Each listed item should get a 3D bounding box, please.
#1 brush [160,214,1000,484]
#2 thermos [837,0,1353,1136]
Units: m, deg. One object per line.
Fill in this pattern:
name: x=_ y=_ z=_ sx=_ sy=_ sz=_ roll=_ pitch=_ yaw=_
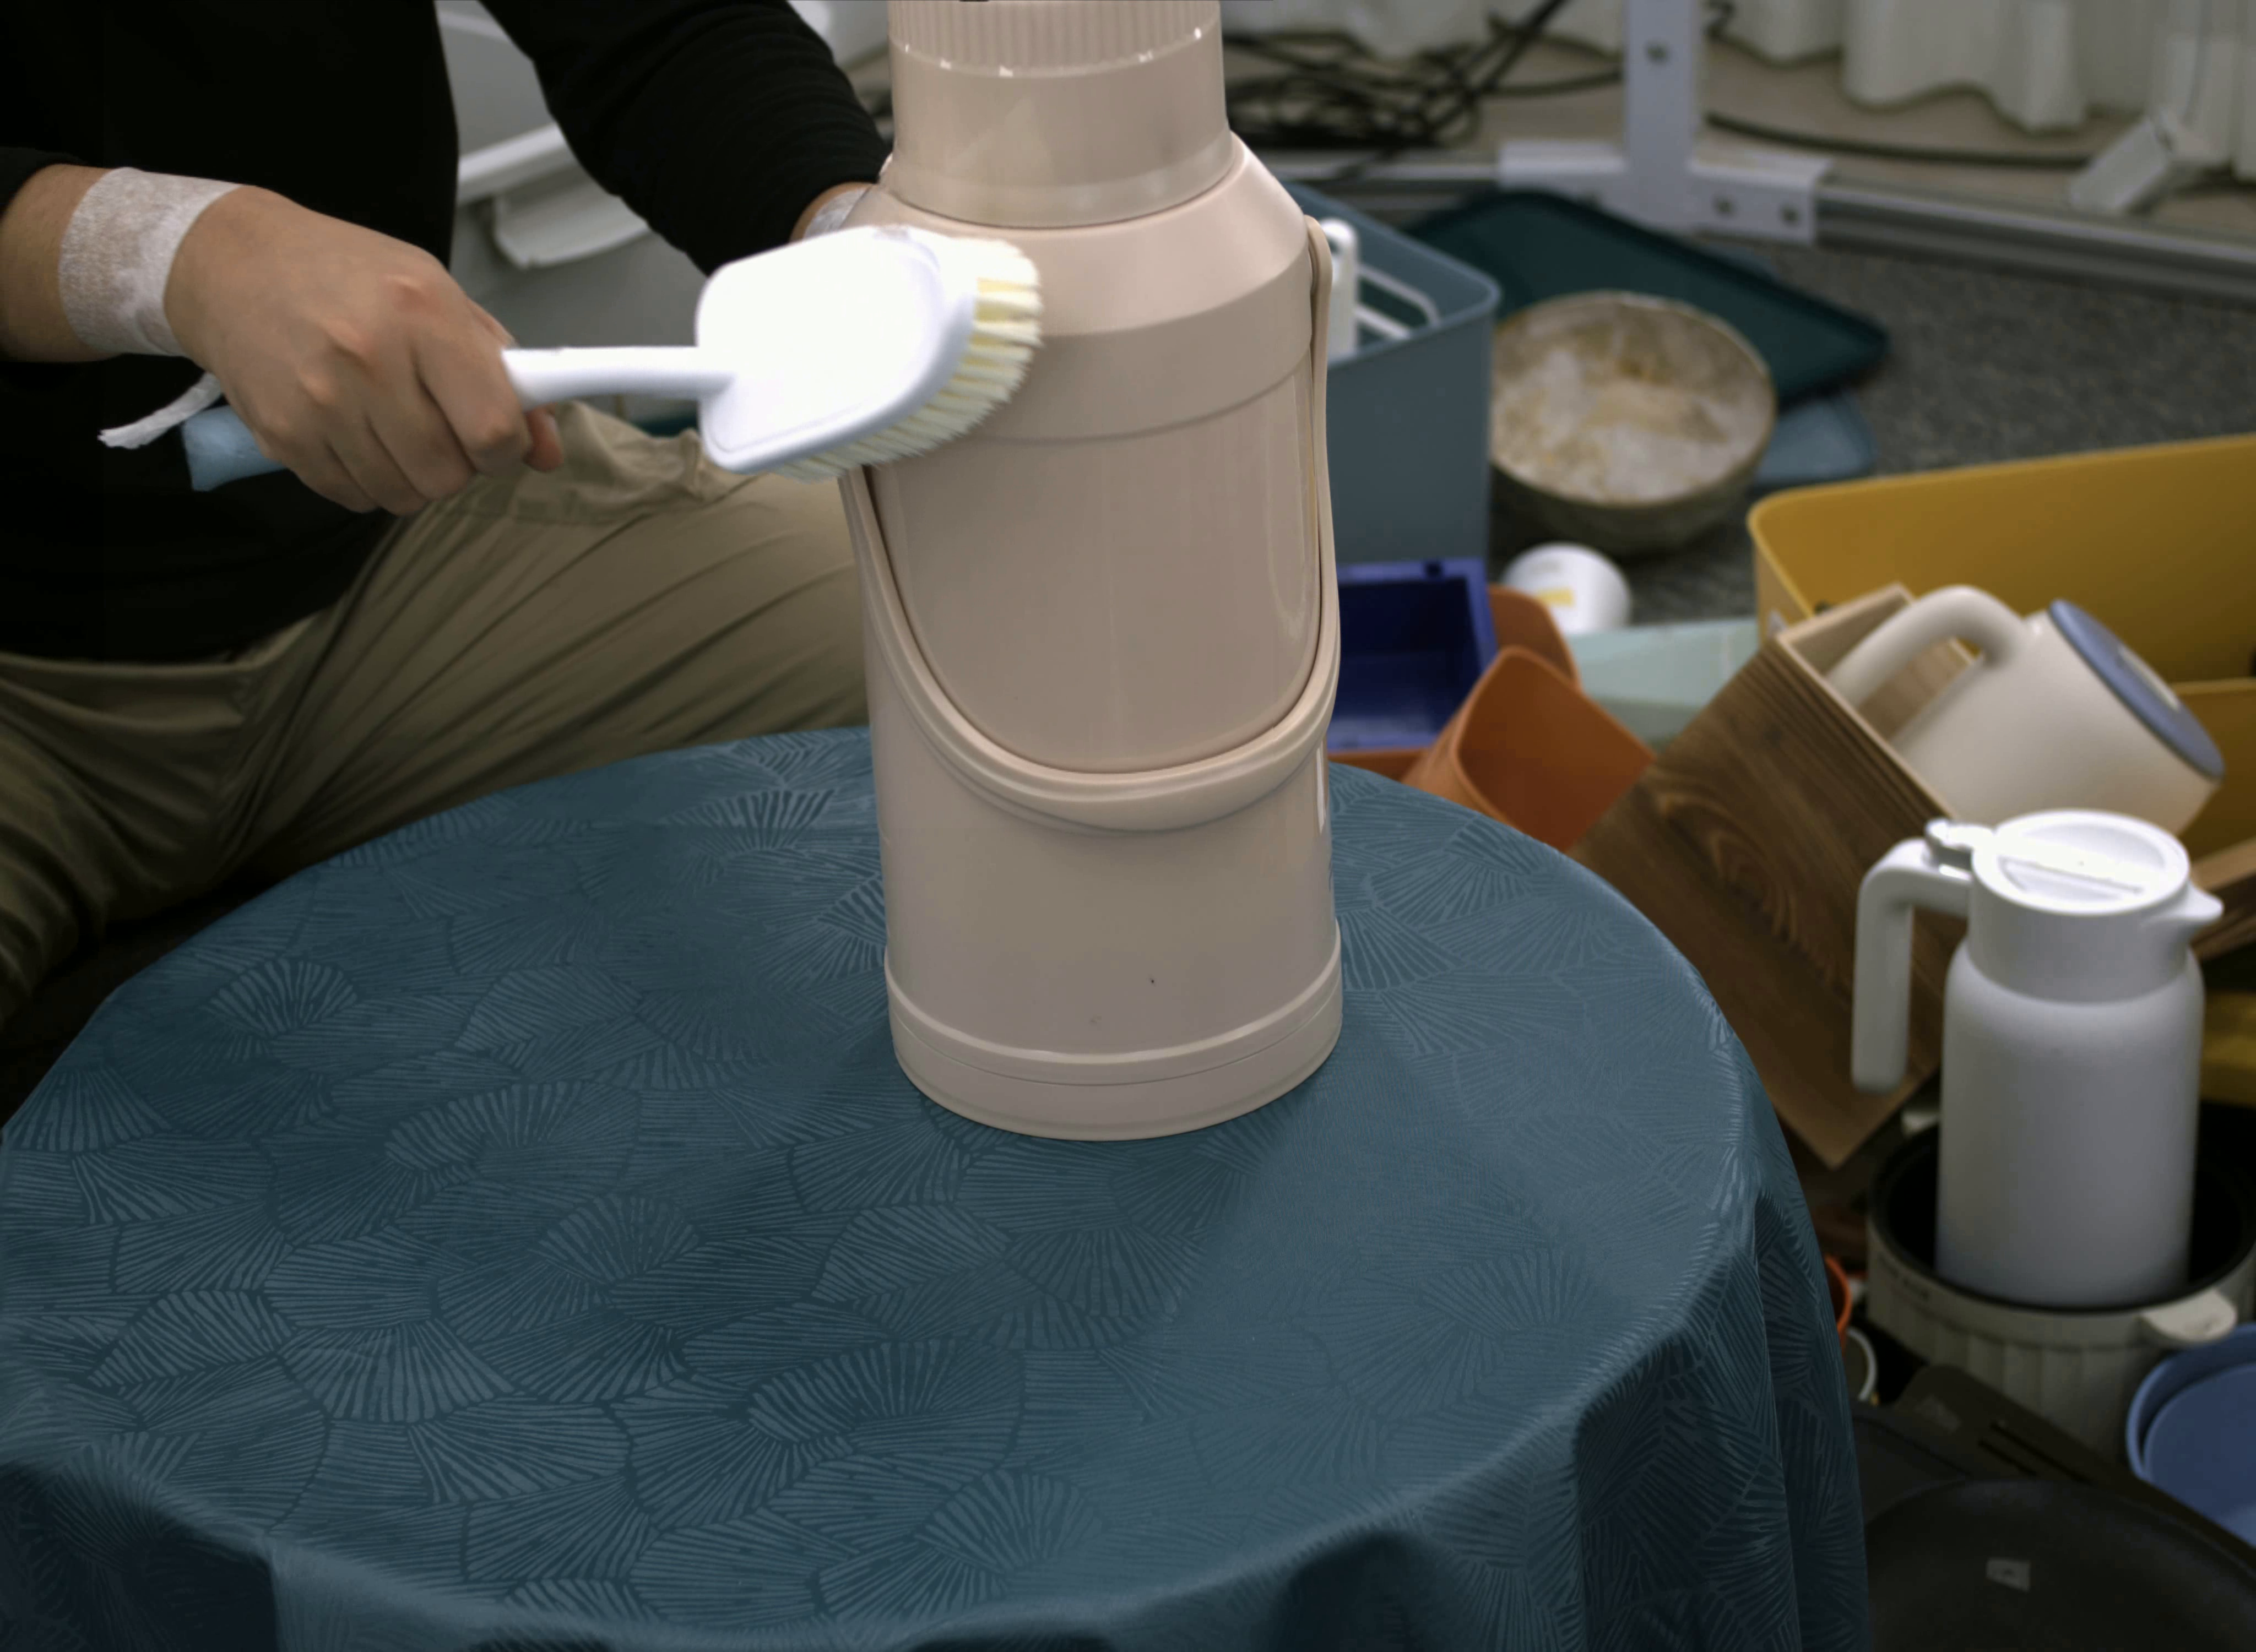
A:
brush: x=-0.172 y=-0.144 z=1.818 sx=0.321 sy=0.084 sz=0.085 roll=-10 pitch=38 yaw=31
thermos: x=-0.016 y=-0.113 z=1.889 sx=0.176 sy=0.402 sz=0.208 roll=-15 pitch=29 yaw=-19
